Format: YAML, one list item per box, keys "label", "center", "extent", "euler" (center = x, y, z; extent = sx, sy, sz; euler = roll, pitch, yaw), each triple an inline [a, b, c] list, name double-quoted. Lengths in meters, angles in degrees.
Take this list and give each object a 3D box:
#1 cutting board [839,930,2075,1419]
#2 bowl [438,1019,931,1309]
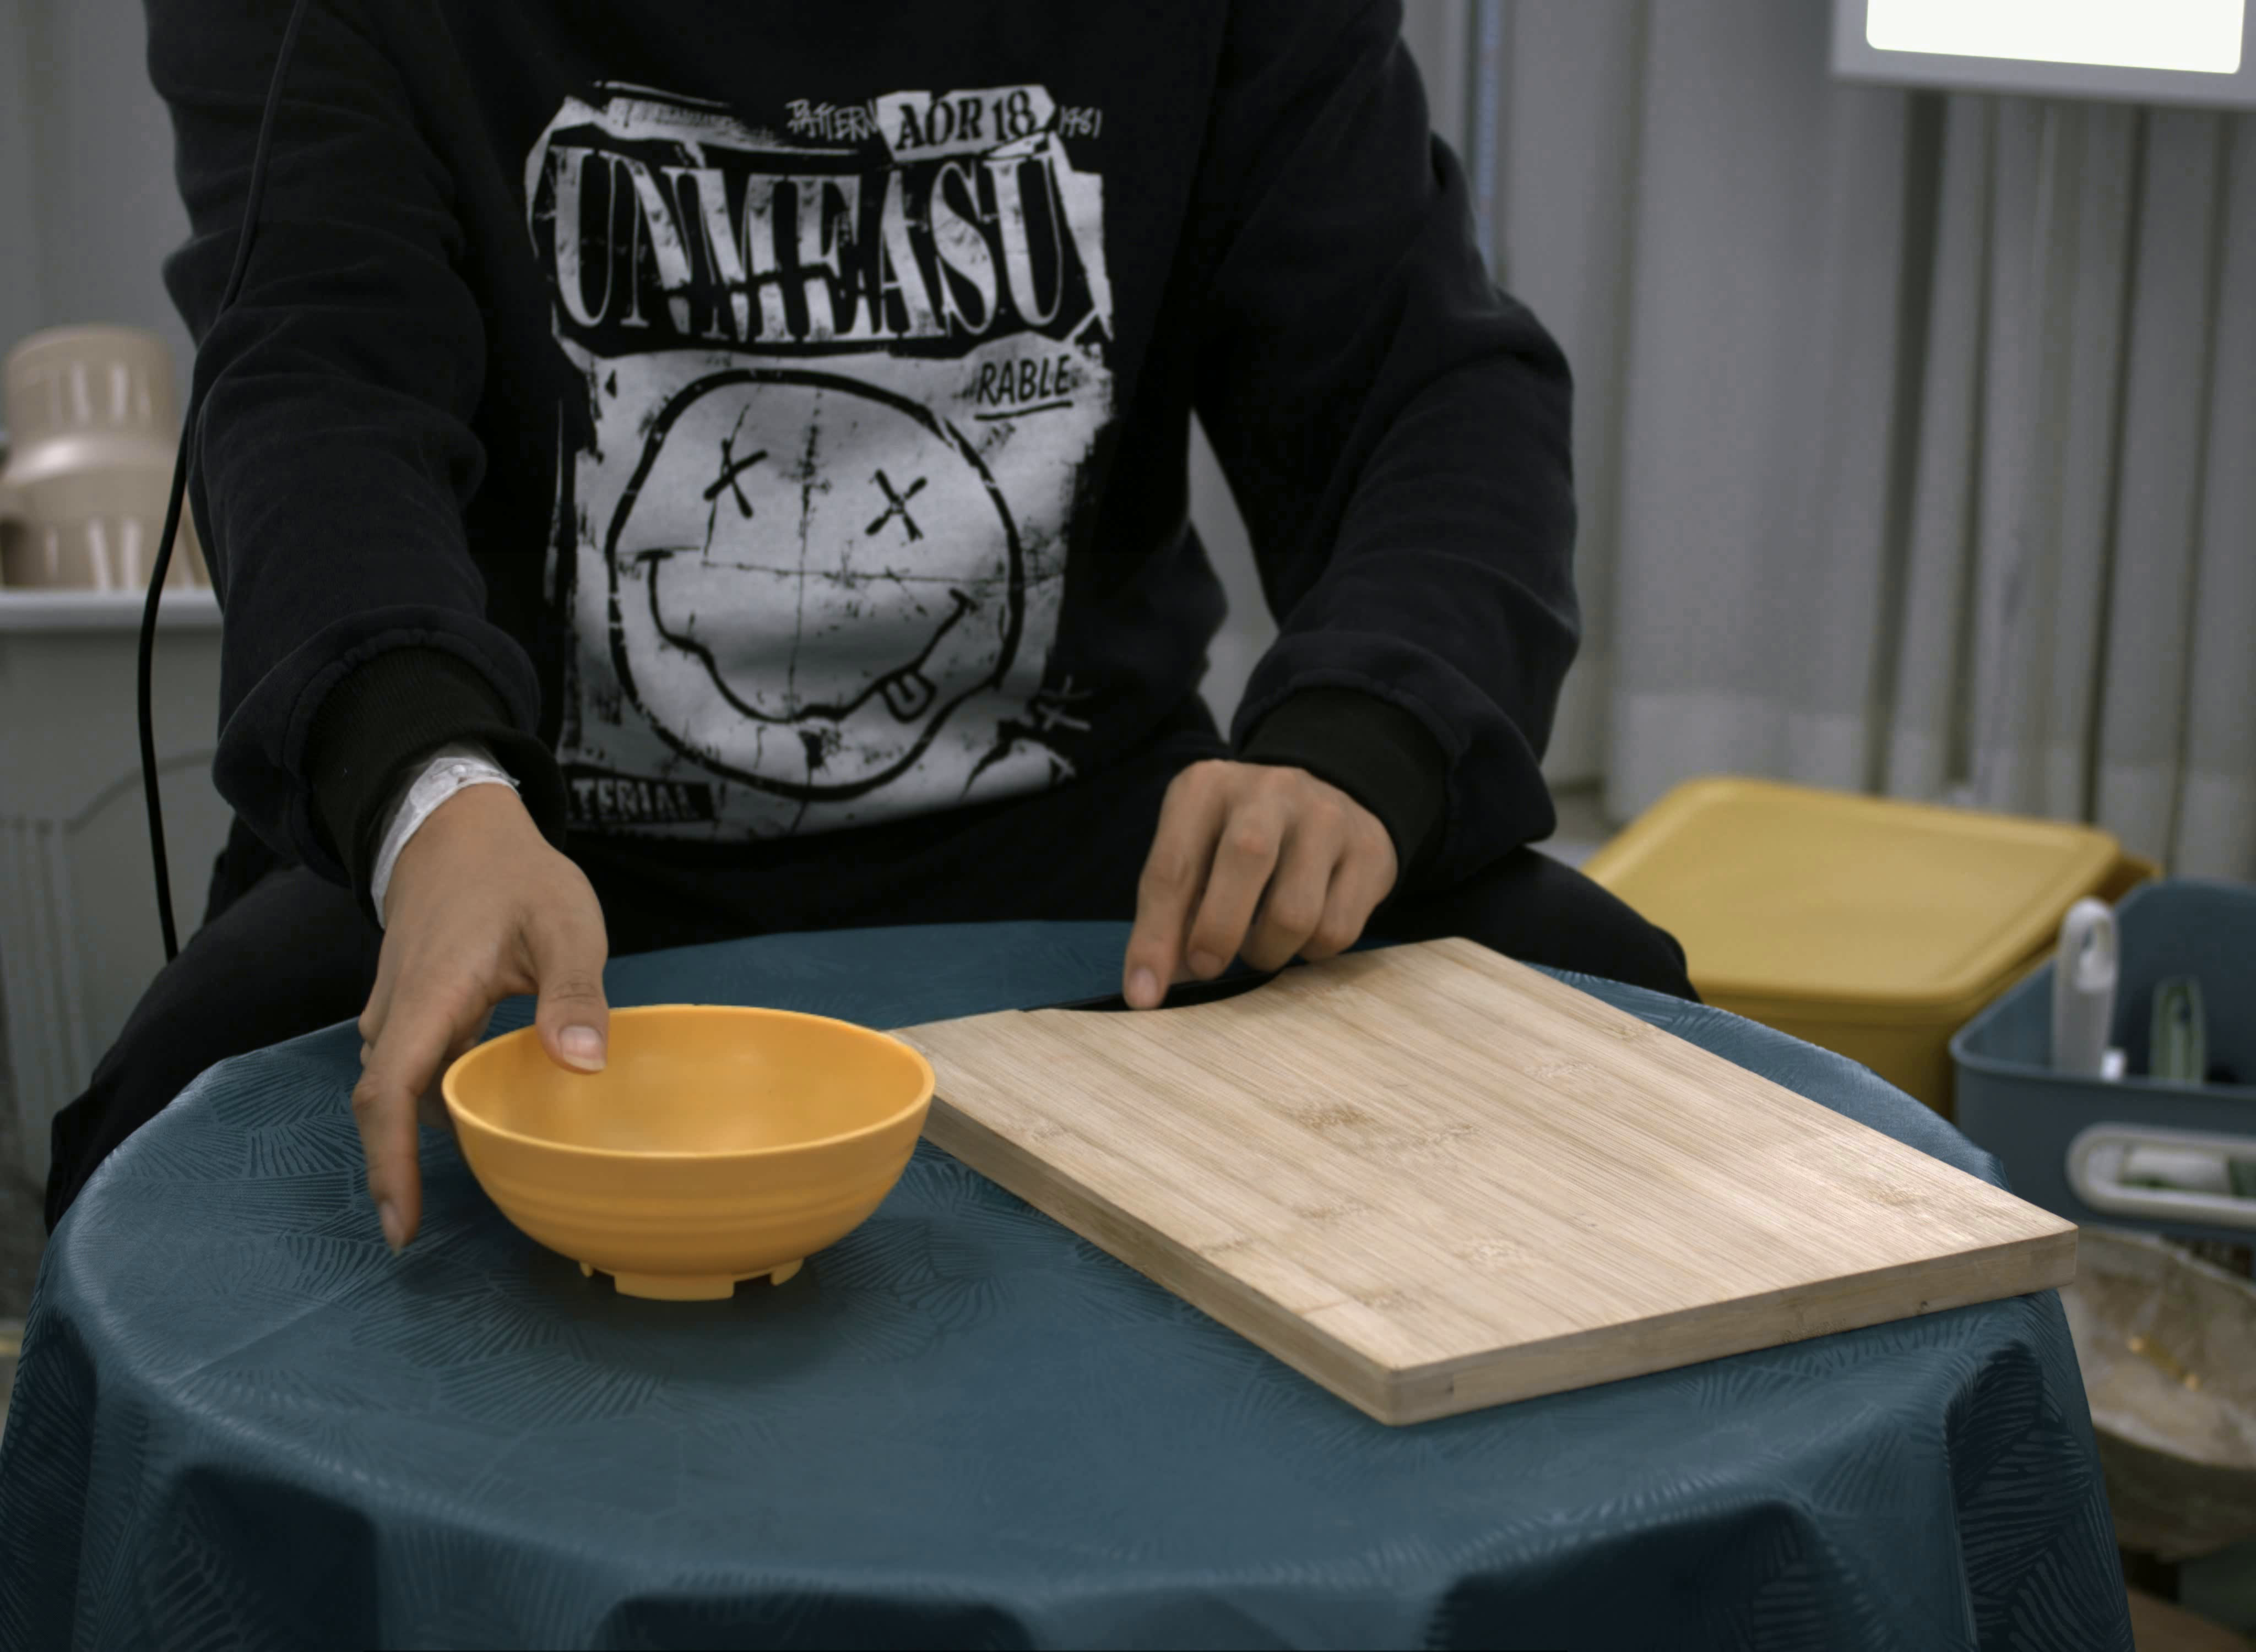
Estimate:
- label: "cutting board"
  center: [0.092, 0.101, 1.641]
  extent: [0.252, 0.024, 0.344]
  euler: [-8, 18, -30]
- label: "bowl"
  center: [-0.131, 0.104, 1.551]
  extent: [0.145, 0.060, 0.144]
  euler: [2, 14, 0]
